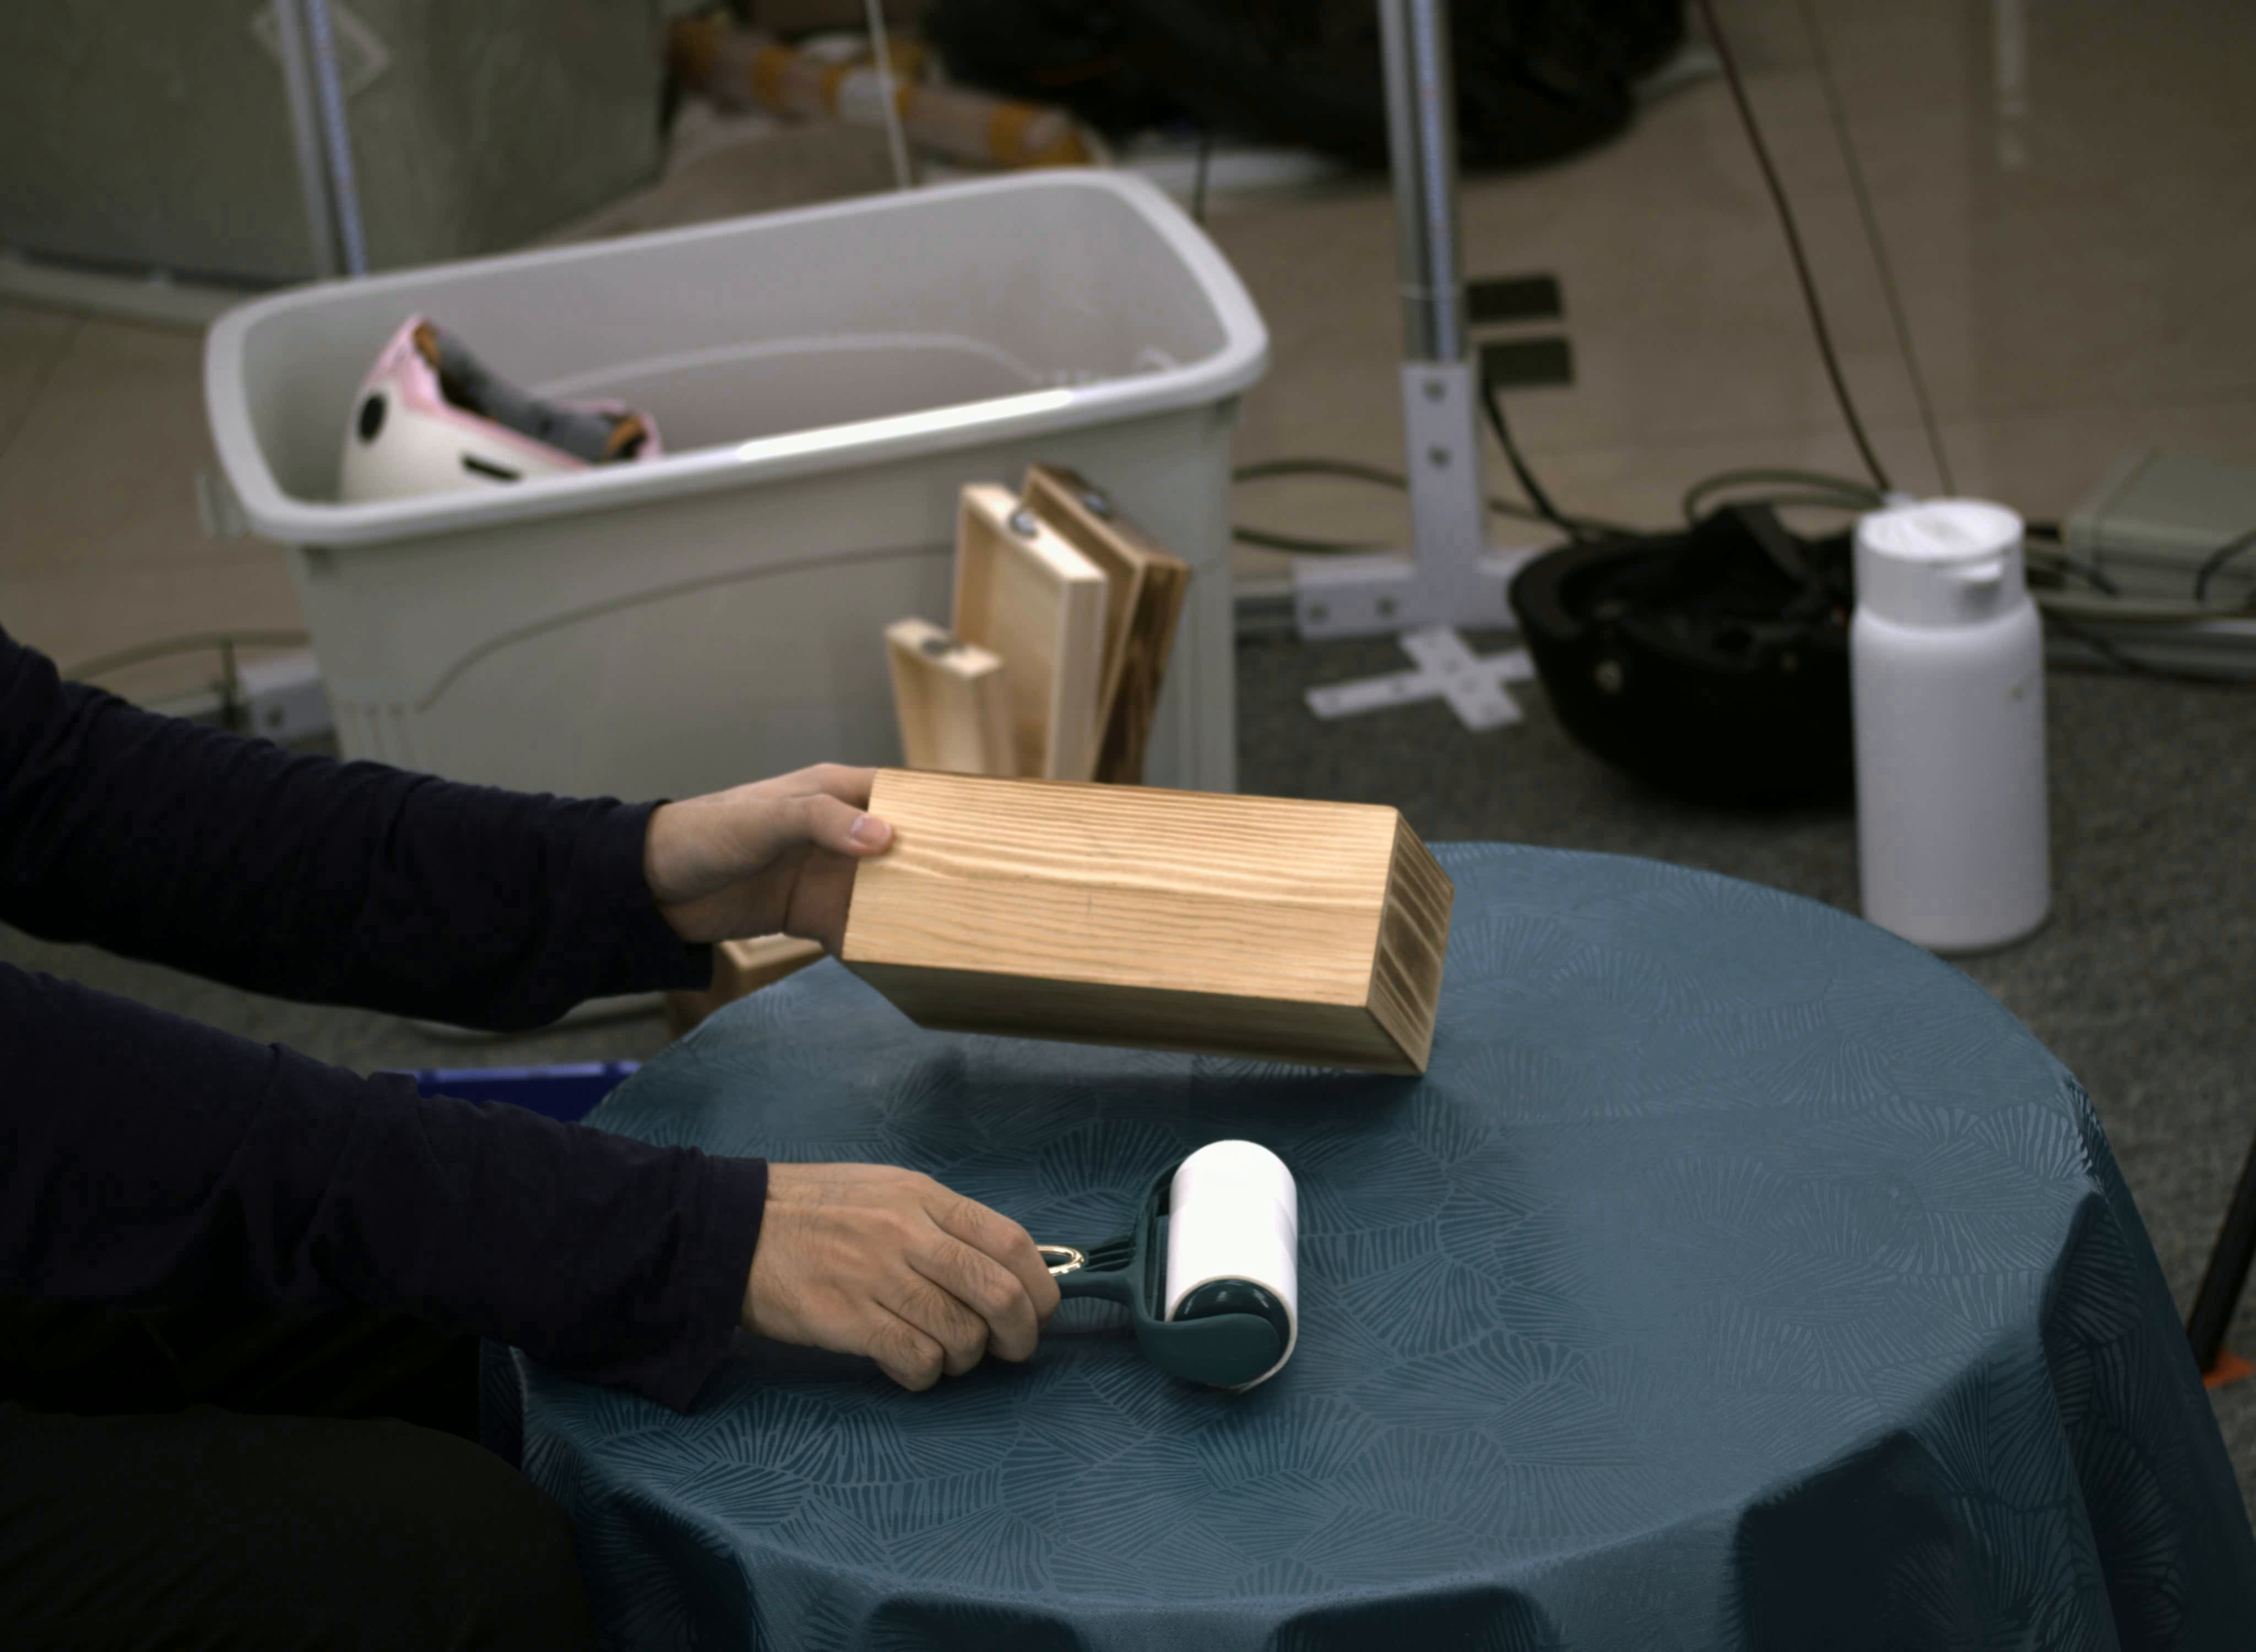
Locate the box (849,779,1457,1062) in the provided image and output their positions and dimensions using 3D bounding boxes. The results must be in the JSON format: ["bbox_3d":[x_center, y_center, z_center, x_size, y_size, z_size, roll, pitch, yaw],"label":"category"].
[{"bbox_3d":[0.011,0.037,2.202,0.211,0.080,0.108,3,-14,16],"label":"box"}]

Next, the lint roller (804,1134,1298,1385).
[{"bbox_3d":[-0.029,0.159,2.046,0.180,0.049,0.132,-2,26,2],"label":"lint roller"}]
